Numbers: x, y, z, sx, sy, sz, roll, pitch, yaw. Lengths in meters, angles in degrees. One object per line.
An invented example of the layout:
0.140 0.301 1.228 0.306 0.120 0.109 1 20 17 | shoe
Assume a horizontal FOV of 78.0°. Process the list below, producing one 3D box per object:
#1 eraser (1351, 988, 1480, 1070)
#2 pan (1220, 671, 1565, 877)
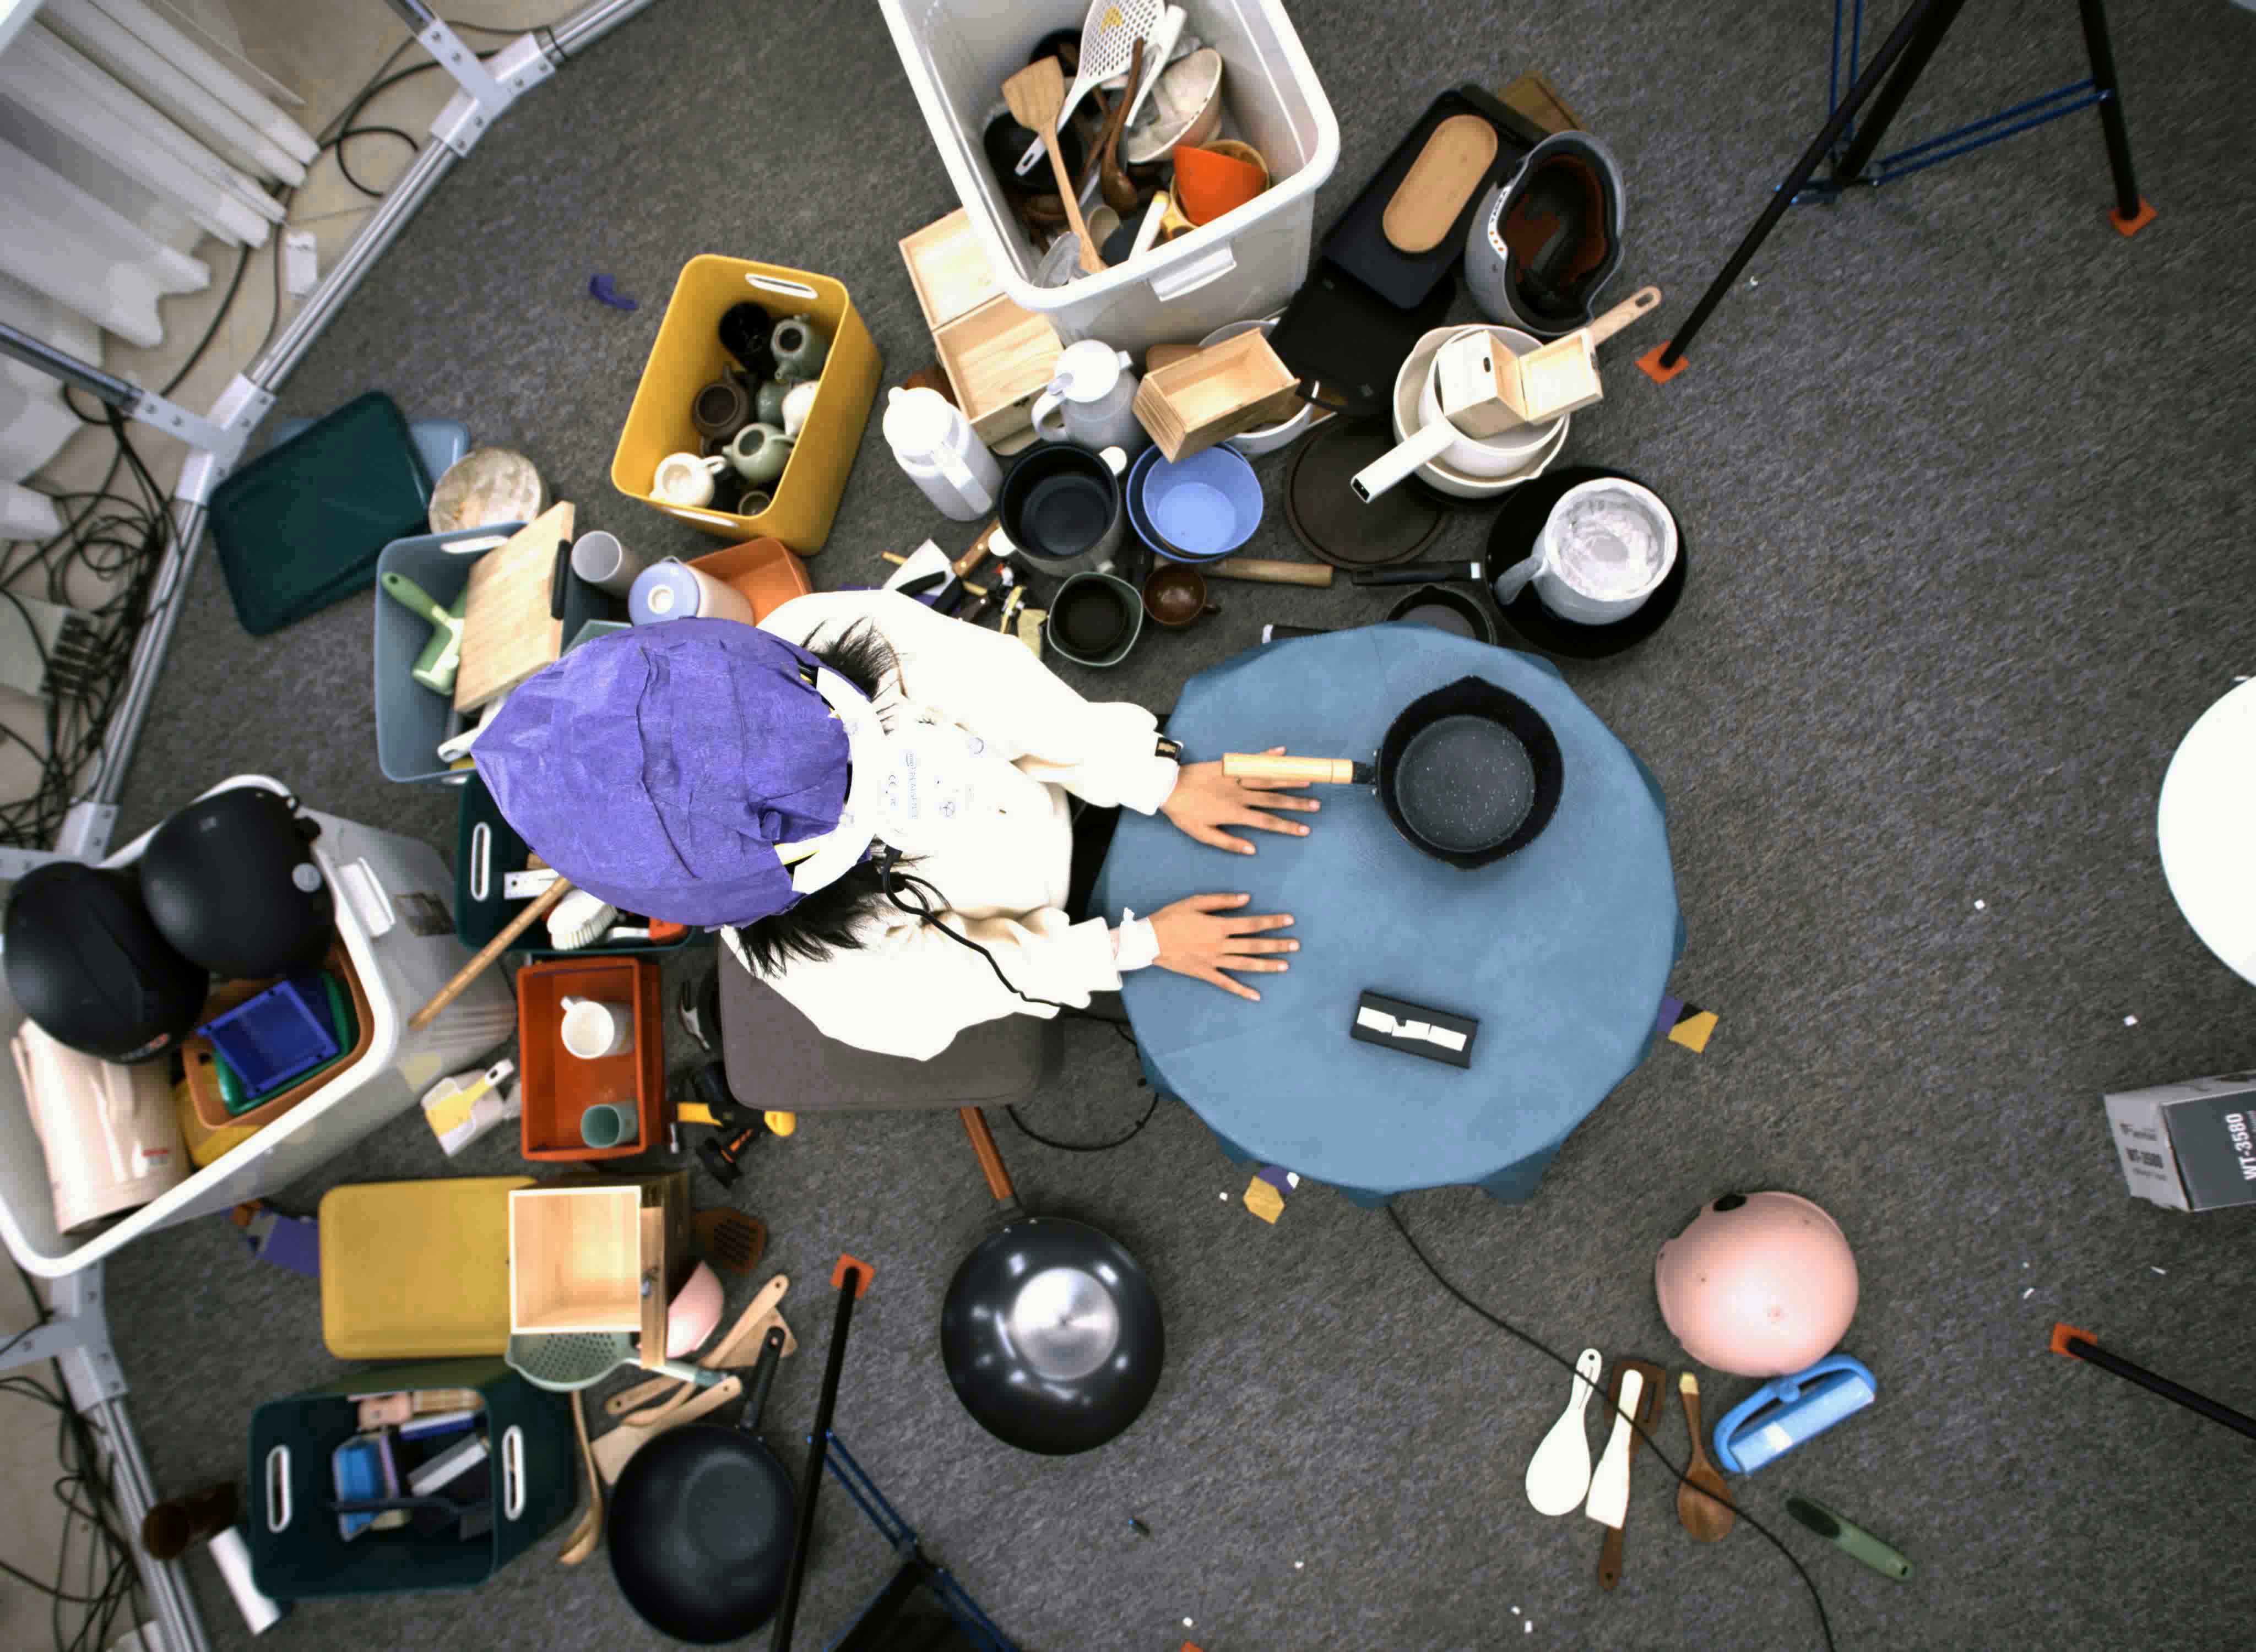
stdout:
0.299 0.208 1.434 0.125 0.030 0.053 15 88 12 | eraser
0.268 -0.053 1.413 0.344 0.108 0.207 1 87 9 | pan
